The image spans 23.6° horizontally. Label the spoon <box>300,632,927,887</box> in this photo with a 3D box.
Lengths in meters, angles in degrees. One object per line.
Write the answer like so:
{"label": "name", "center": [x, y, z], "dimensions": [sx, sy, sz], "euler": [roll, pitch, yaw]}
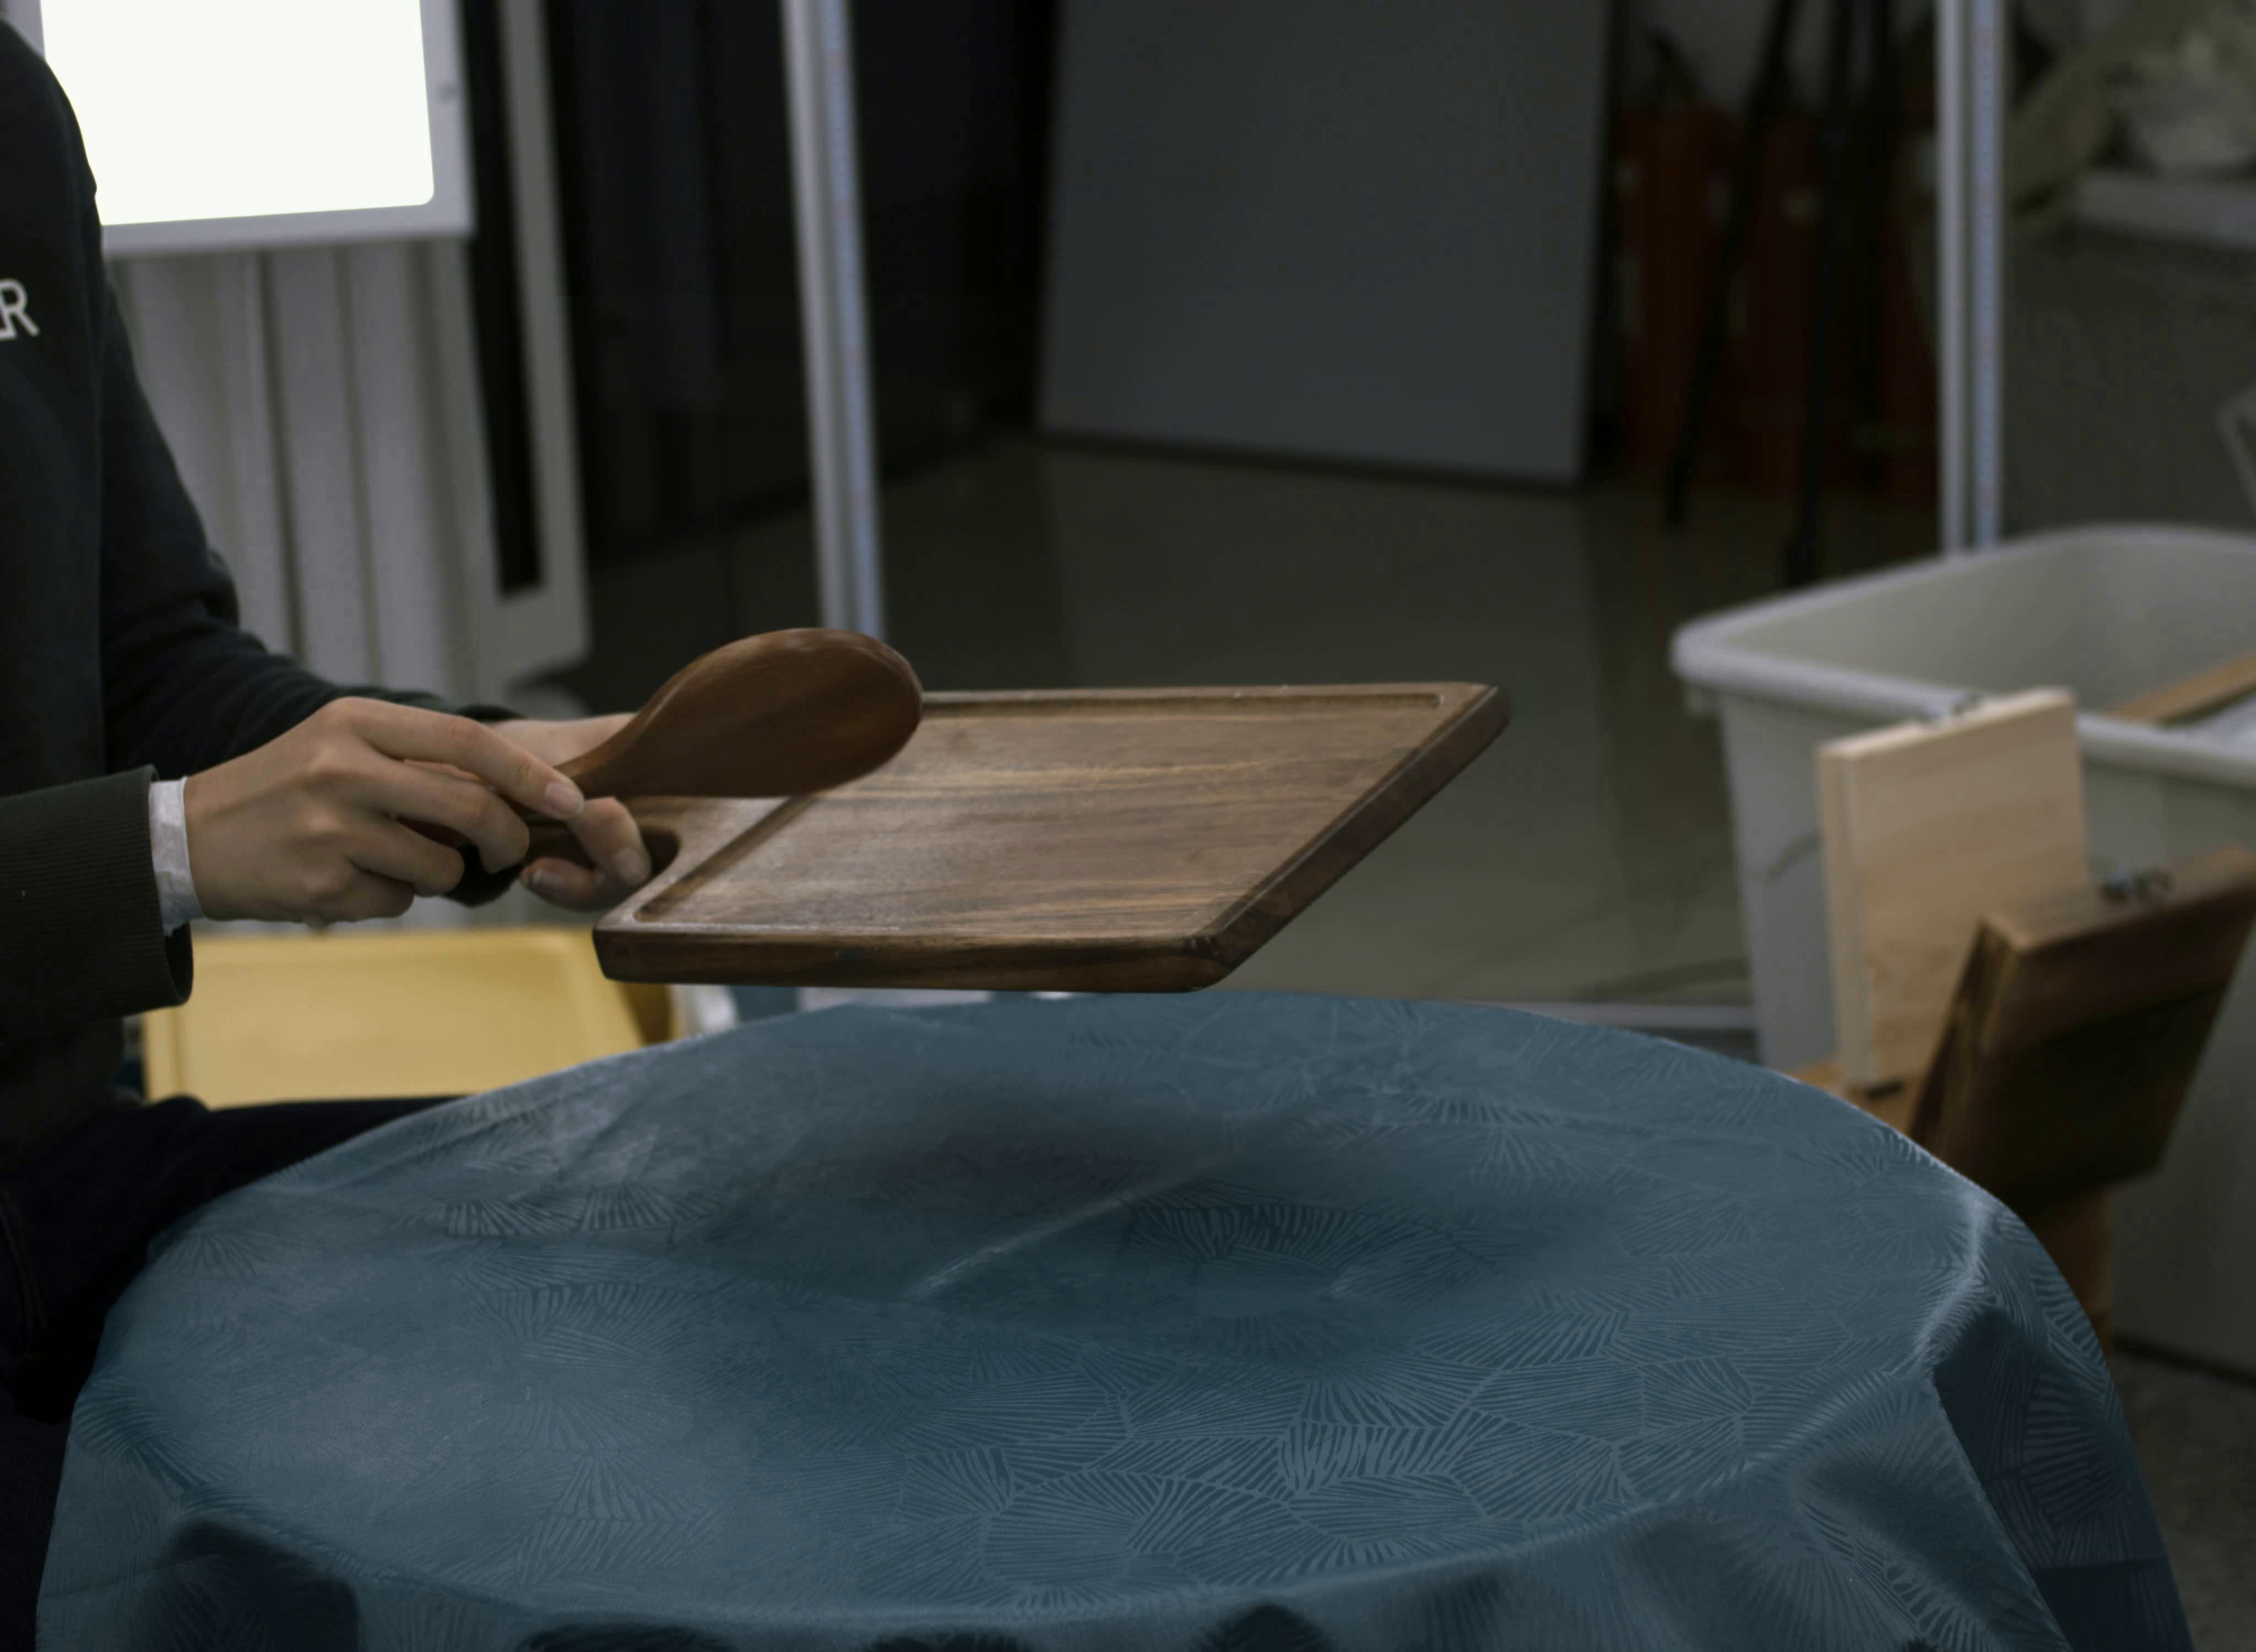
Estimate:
{"label": "spoon", "center": [-0.167, -0.016, 1.742], "dimensions": [0.215, 0.075, 0.017], "euler": [-15, 50, 13]}

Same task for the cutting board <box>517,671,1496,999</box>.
{"label": "cutting board", "center": [-0.066, 0.004, 1.804], "dimensions": [0.354, 0.023, 0.198], "euler": [-1, 26, 37]}
